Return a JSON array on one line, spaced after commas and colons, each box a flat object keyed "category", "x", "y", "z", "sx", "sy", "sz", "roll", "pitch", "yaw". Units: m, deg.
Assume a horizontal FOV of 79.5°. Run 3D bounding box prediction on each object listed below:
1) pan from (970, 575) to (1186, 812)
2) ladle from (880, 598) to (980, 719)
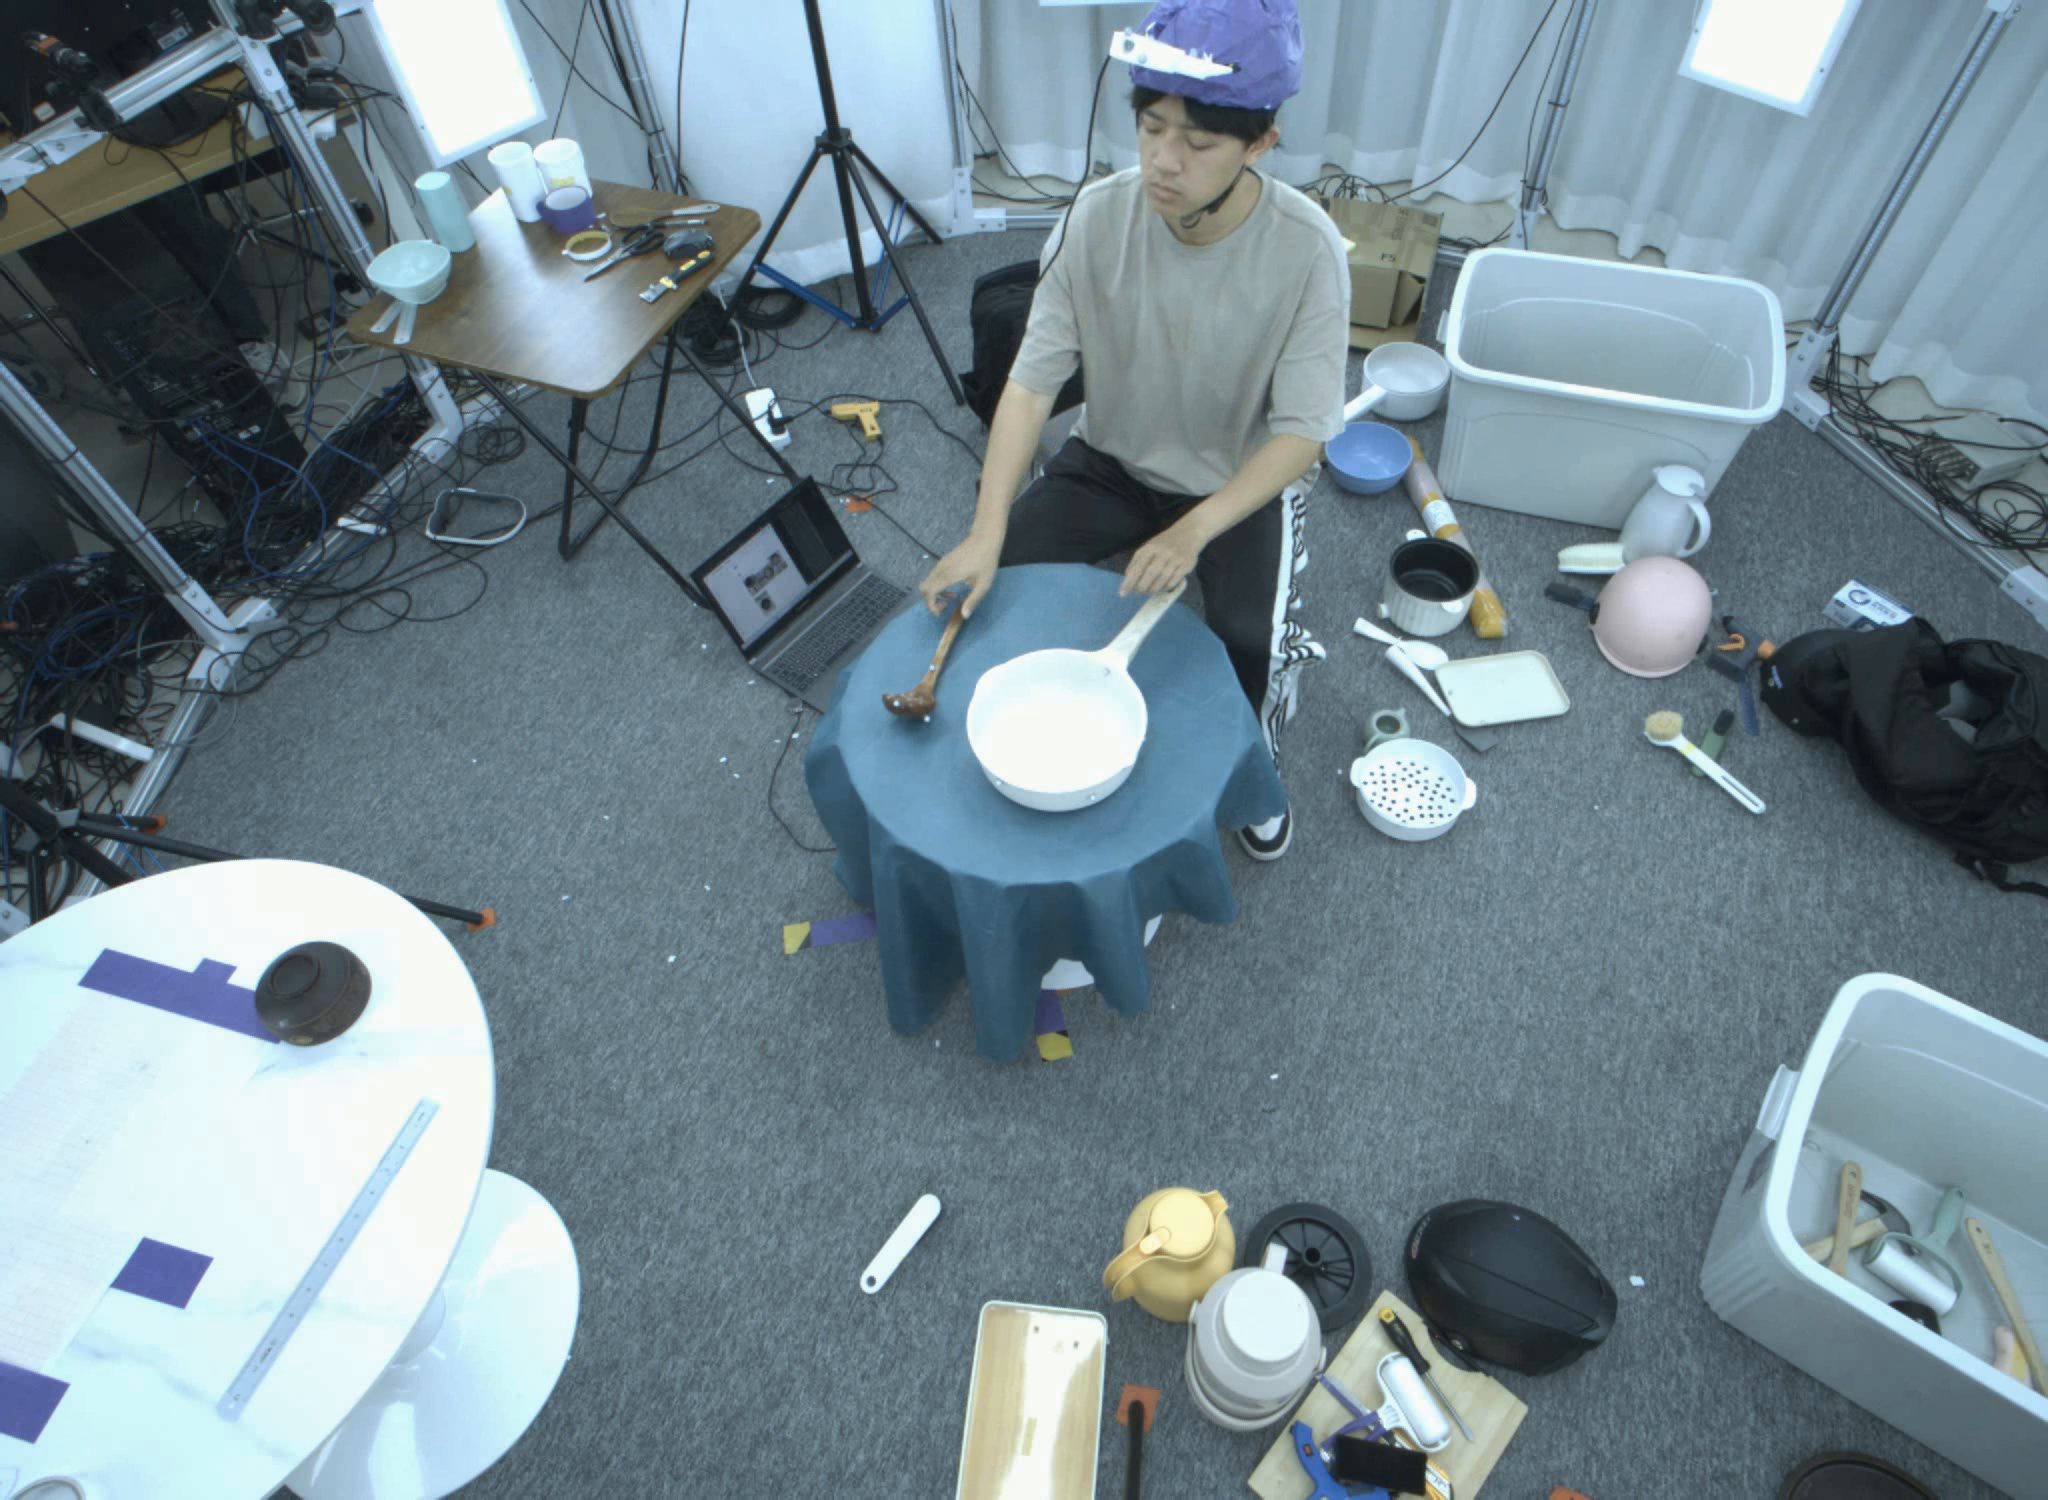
[{"category": "pan", "x": 0.108, "y": -0.086, "z": 1.780, "sx": 0.259, "sy": 0.103, "sz": 0.437, "roll": 30, "pitch": 61, "yaw": 23}, {"category": "ladle", "x": -0.135, "y": -0.152, "z": 1.850, "sx": 0.081, "sy": 0.077, "sz": 0.273, "roll": 15, "pitch": 57, "yaw": 15}]
